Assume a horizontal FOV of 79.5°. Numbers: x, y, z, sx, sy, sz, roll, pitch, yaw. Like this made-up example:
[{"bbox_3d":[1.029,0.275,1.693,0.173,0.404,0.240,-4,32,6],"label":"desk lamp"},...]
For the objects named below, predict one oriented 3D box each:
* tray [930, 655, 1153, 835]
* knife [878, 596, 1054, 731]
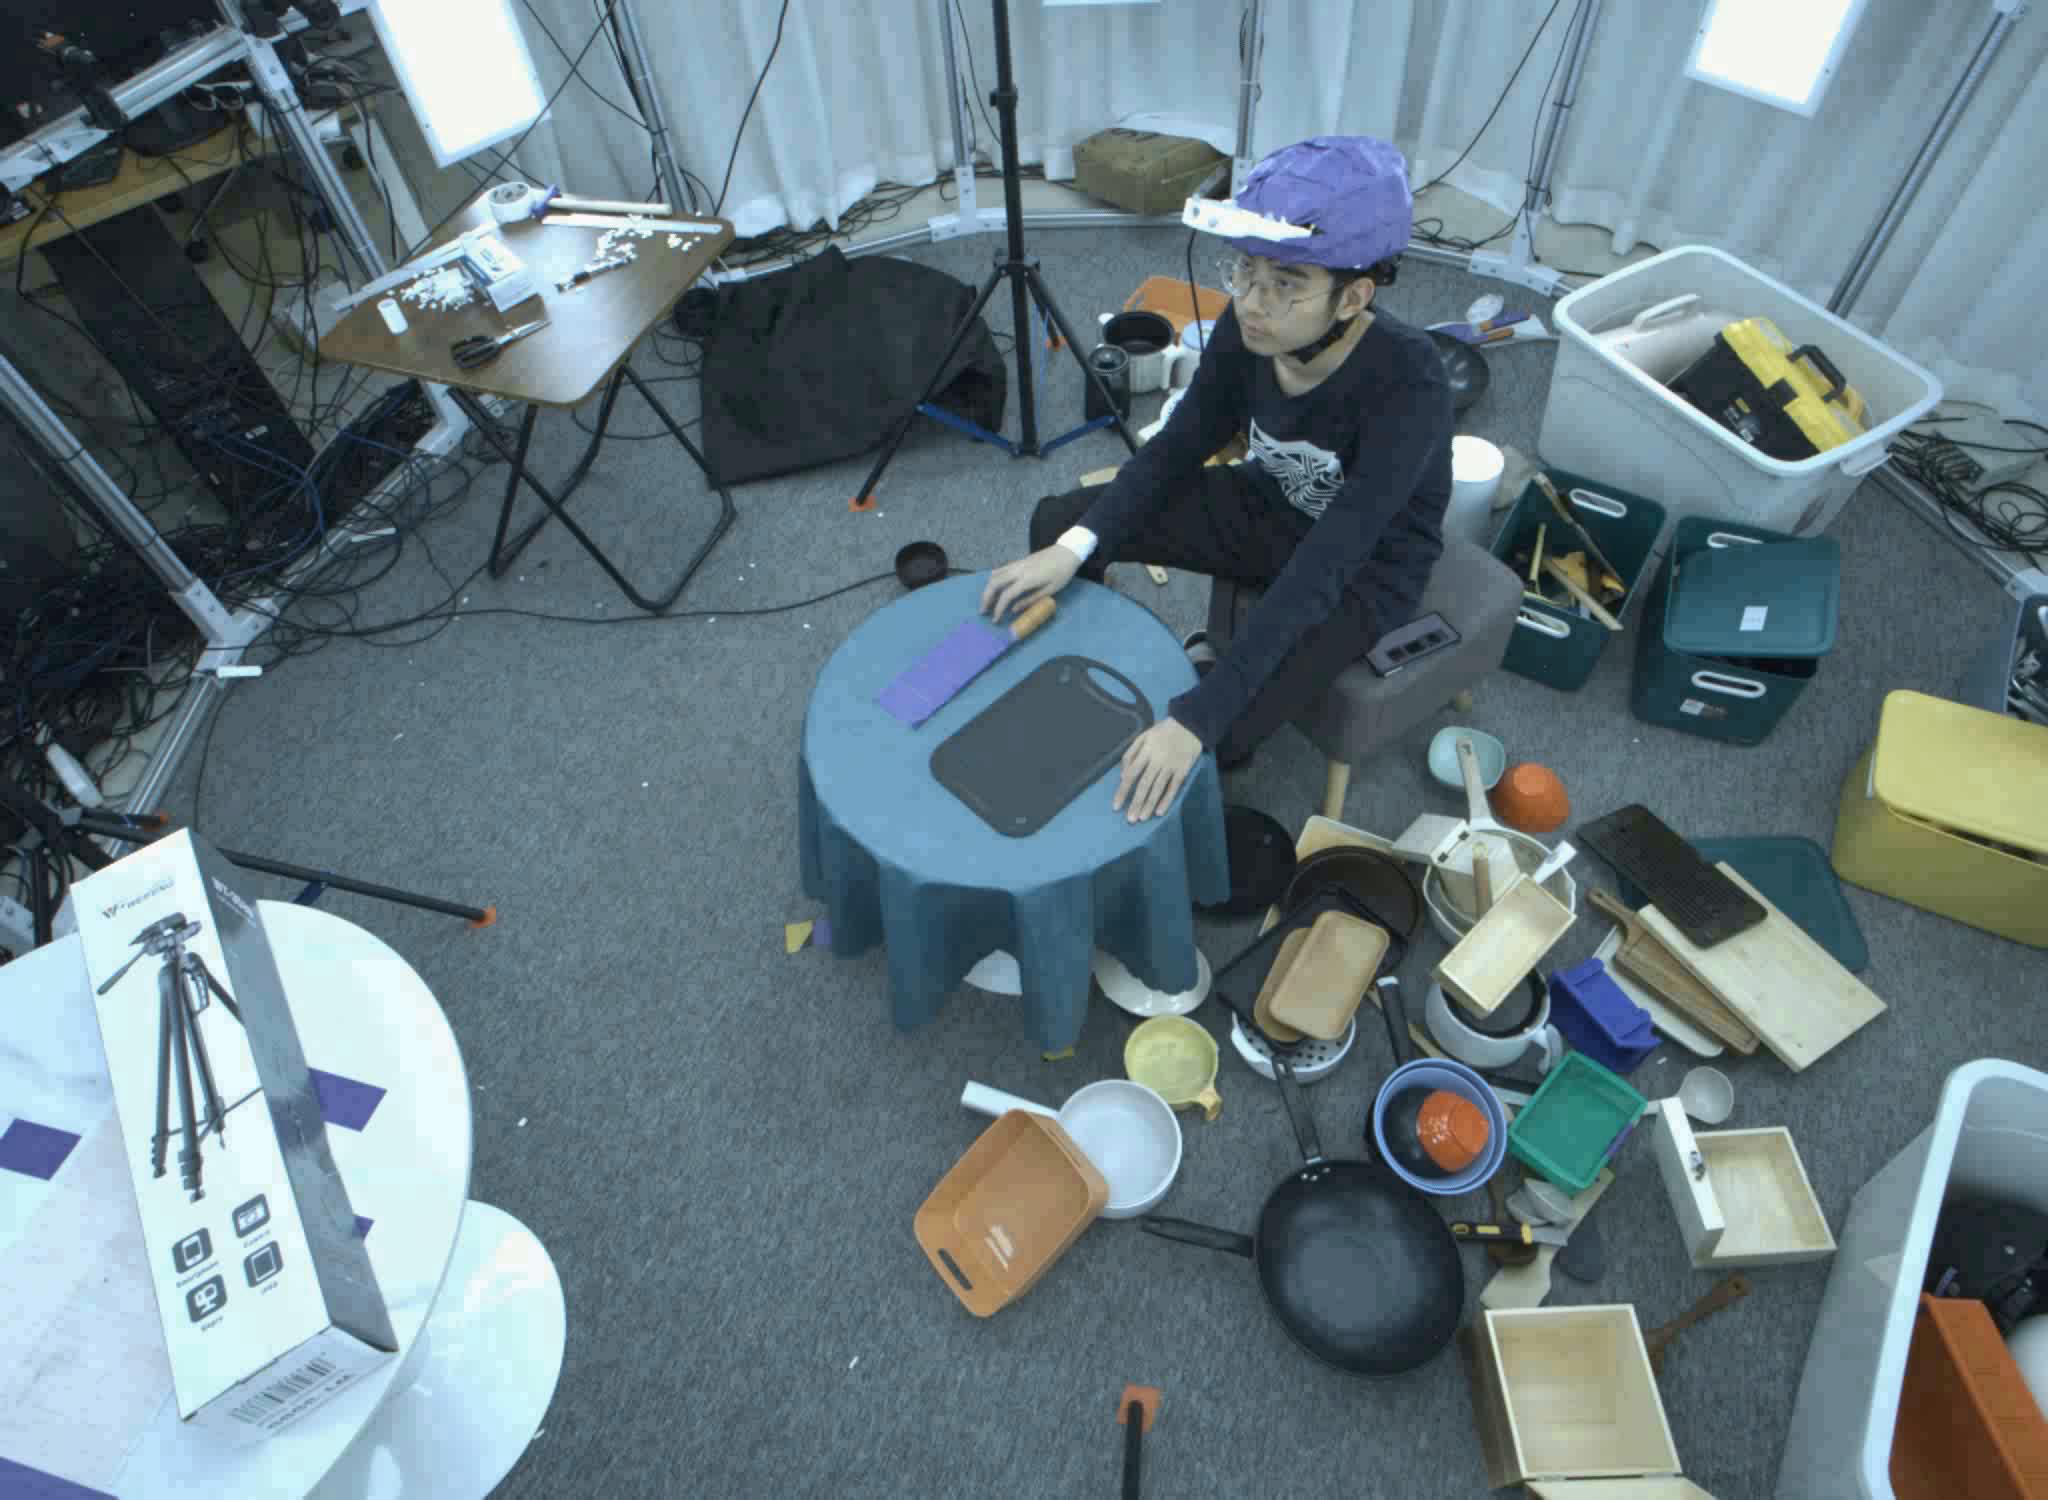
[{"bbox_3d":[0.032,-0.021,1.805,0.328,0.010,0.207,-39,63,-24],"label":"tray"},{"bbox_3d":[-0.090,-0.153,1.890,0.102,0.032,0.317,36,63,24],"label":"knife"}]
